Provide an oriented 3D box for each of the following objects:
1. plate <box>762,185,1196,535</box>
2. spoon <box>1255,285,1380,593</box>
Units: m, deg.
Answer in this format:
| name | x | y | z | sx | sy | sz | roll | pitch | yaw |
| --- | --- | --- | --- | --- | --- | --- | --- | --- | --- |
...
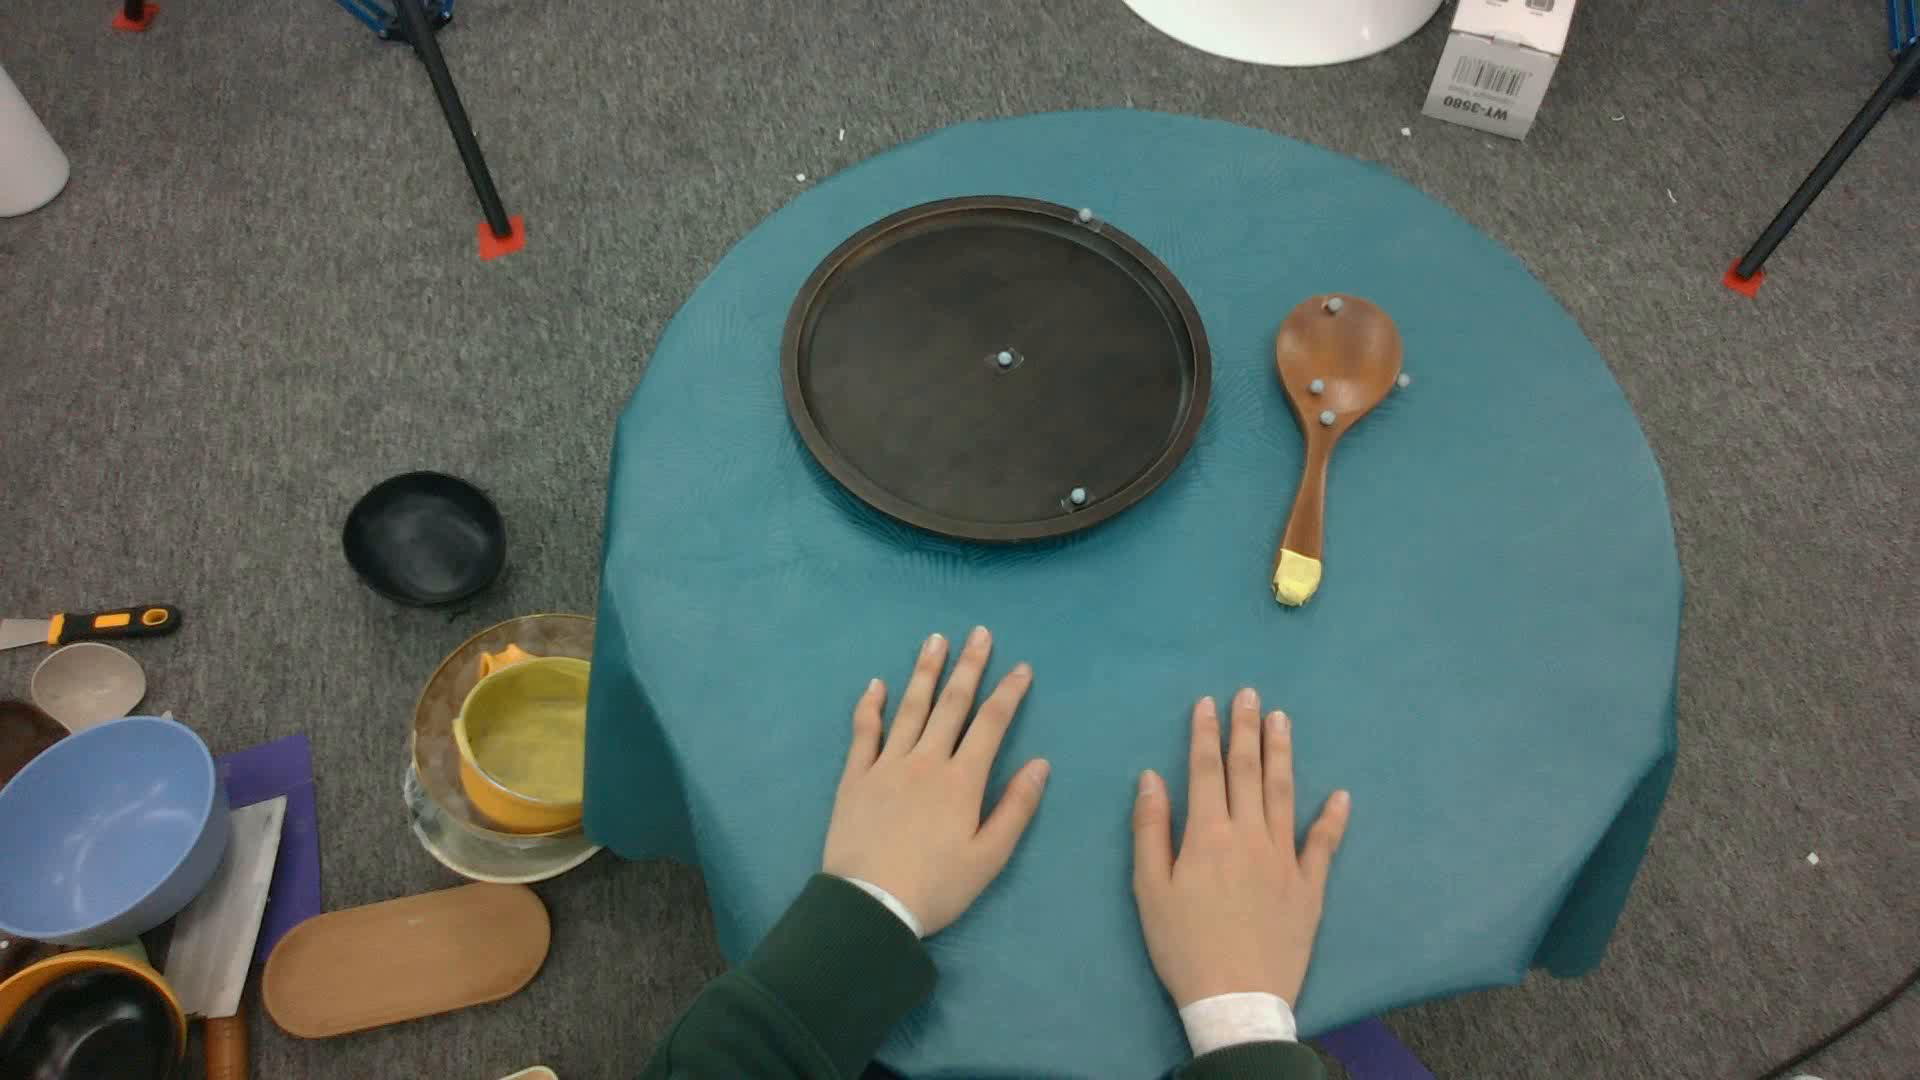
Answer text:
| name | x | y | z | sx | sy | sz | roll | pitch | yaw |
| --- | --- | --- | --- | --- | --- | --- | --- | --- | --- |
| plate | 0.011 | -0.110 | 0.809 | 0.255 | 0.029 | 0.256 | 1 | 58 | -1 |
| spoon | 0.197 | -0.062 | 0.791 | 0.075 | 0.017 | 0.217 | 14 | 59 | 5 |
